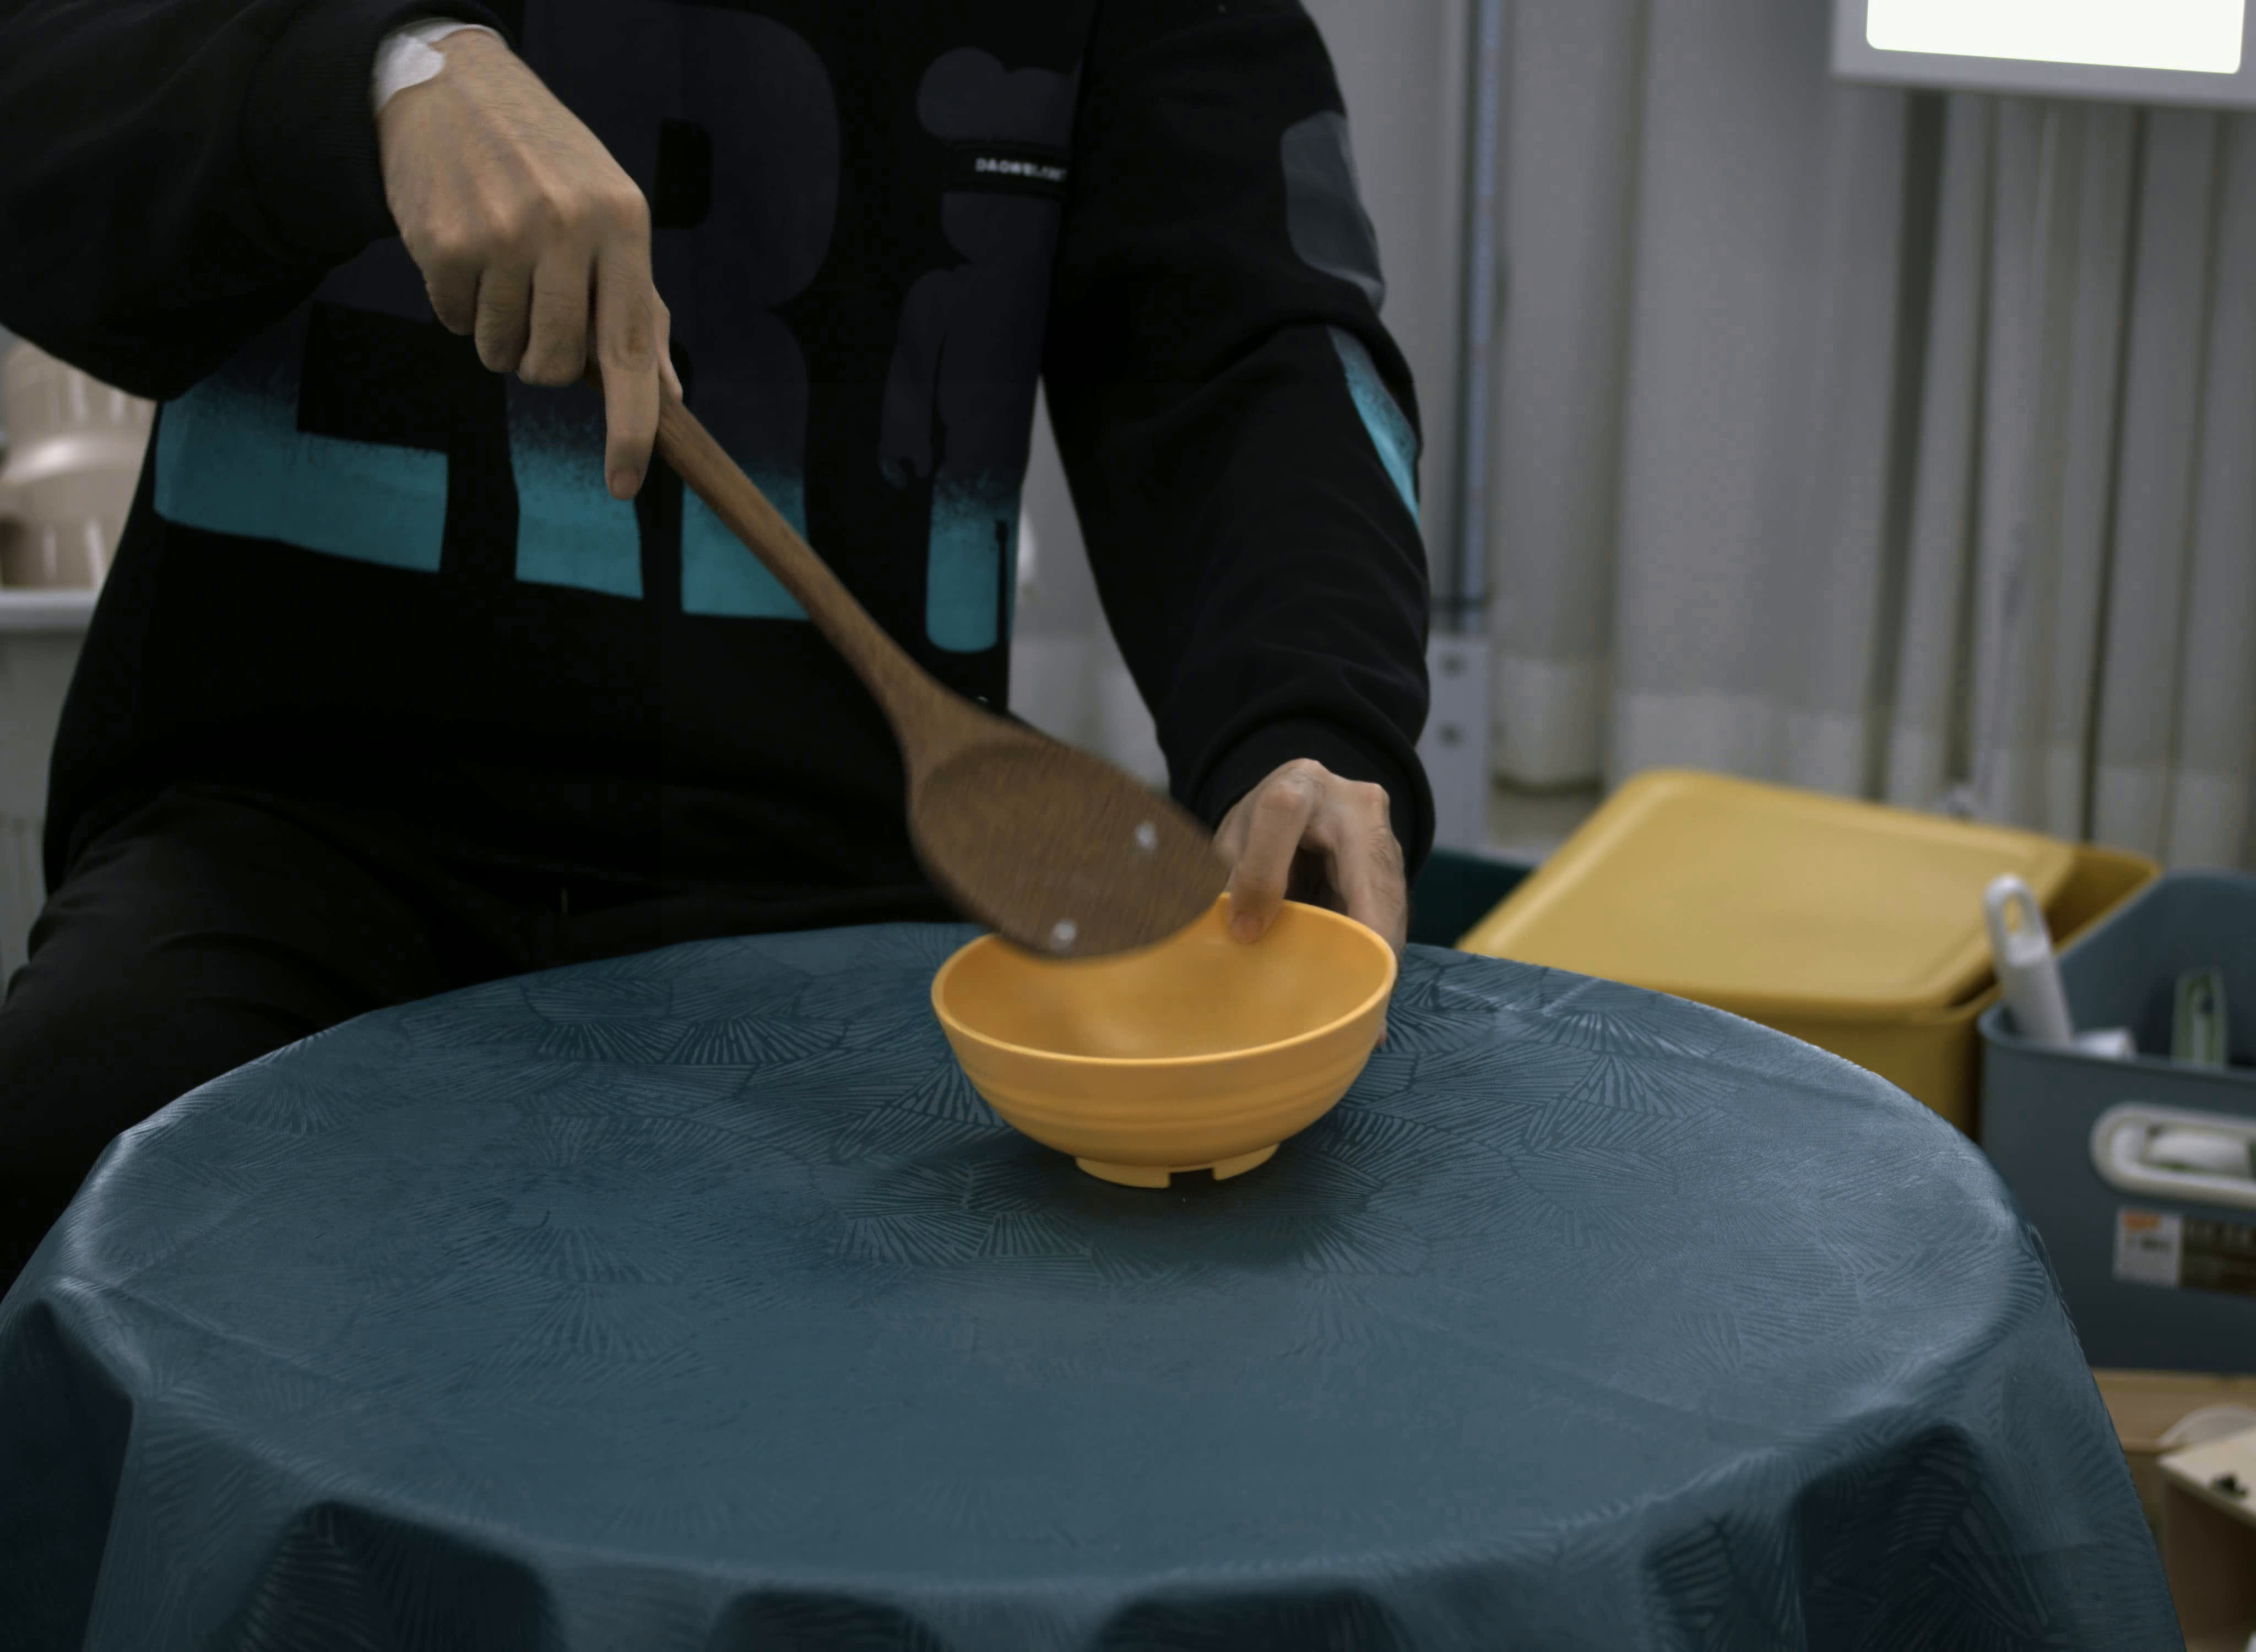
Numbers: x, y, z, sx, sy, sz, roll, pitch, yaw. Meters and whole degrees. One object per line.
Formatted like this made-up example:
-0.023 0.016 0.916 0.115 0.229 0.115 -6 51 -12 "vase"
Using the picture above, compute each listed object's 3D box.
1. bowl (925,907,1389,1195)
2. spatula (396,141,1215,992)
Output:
0.009 0.076 1.645 0.145 0.060 0.144 0 19 1 "bowl"
-0.116 -0.090 1.676 0.096 0.016 0.383 -24 66 -44 "spatula"
